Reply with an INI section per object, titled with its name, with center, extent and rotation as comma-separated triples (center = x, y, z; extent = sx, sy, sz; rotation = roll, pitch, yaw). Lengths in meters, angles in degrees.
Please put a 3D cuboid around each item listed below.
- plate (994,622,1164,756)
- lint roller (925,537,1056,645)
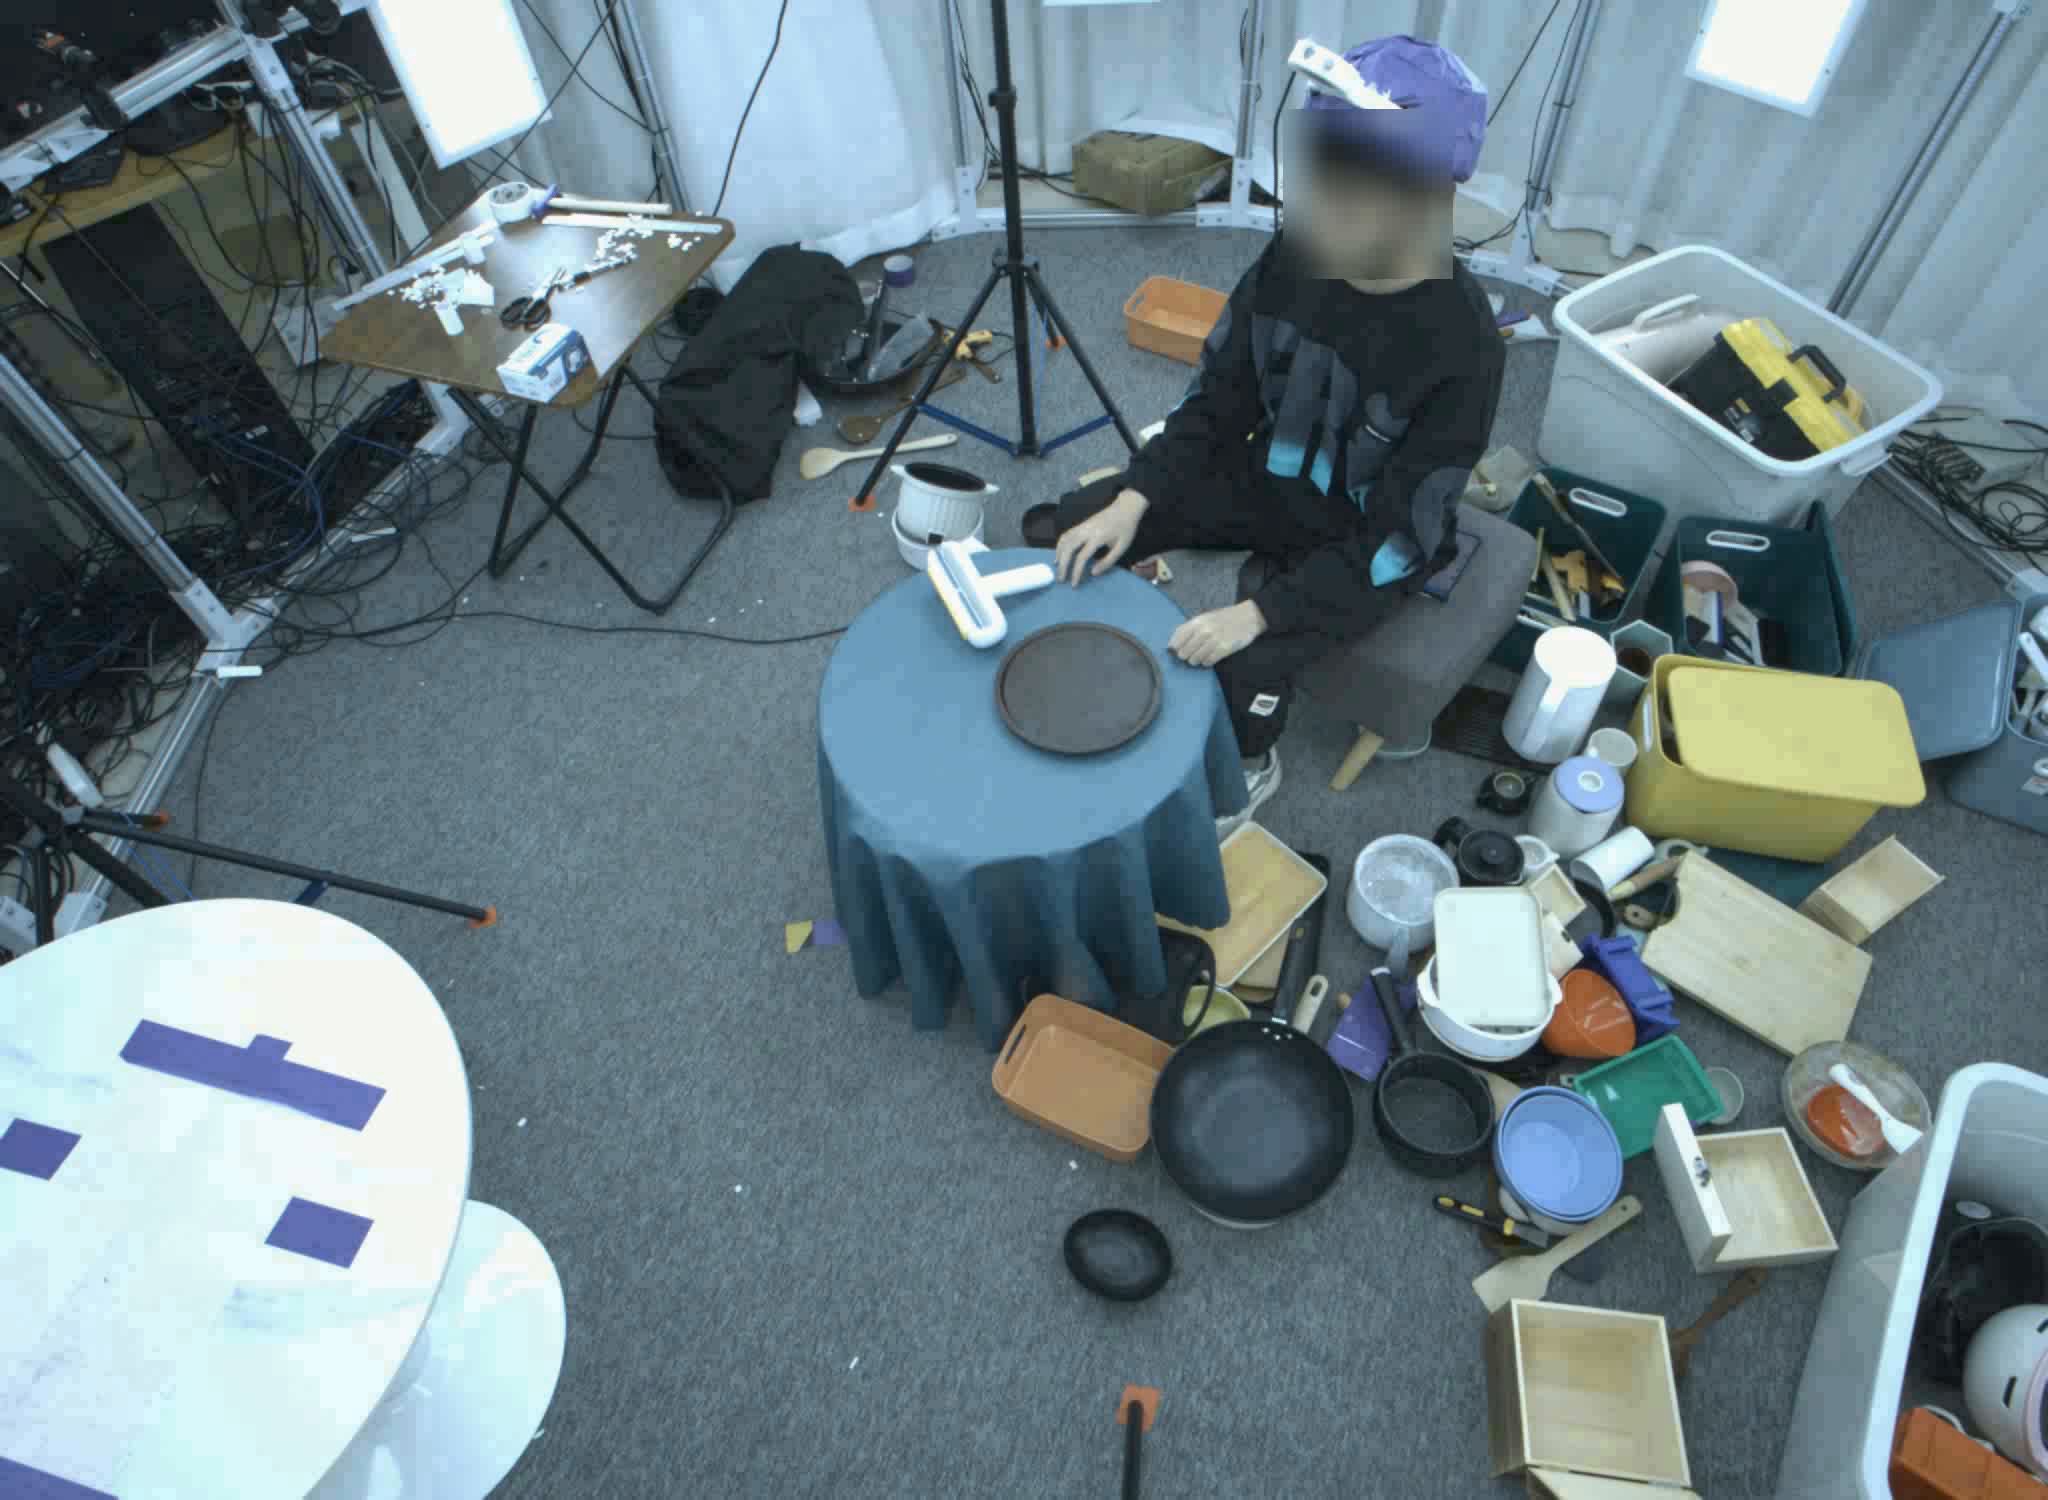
[plate]
center = 0.081, -0.093, 1.832
extent = 0.255, 0.029, 0.252
rotation = 0, 54, 1
[lint roller]
center = -0.040, -0.263, 1.930
extent = 0.194, 0.075, 0.190
rotation = -20, 62, -13
